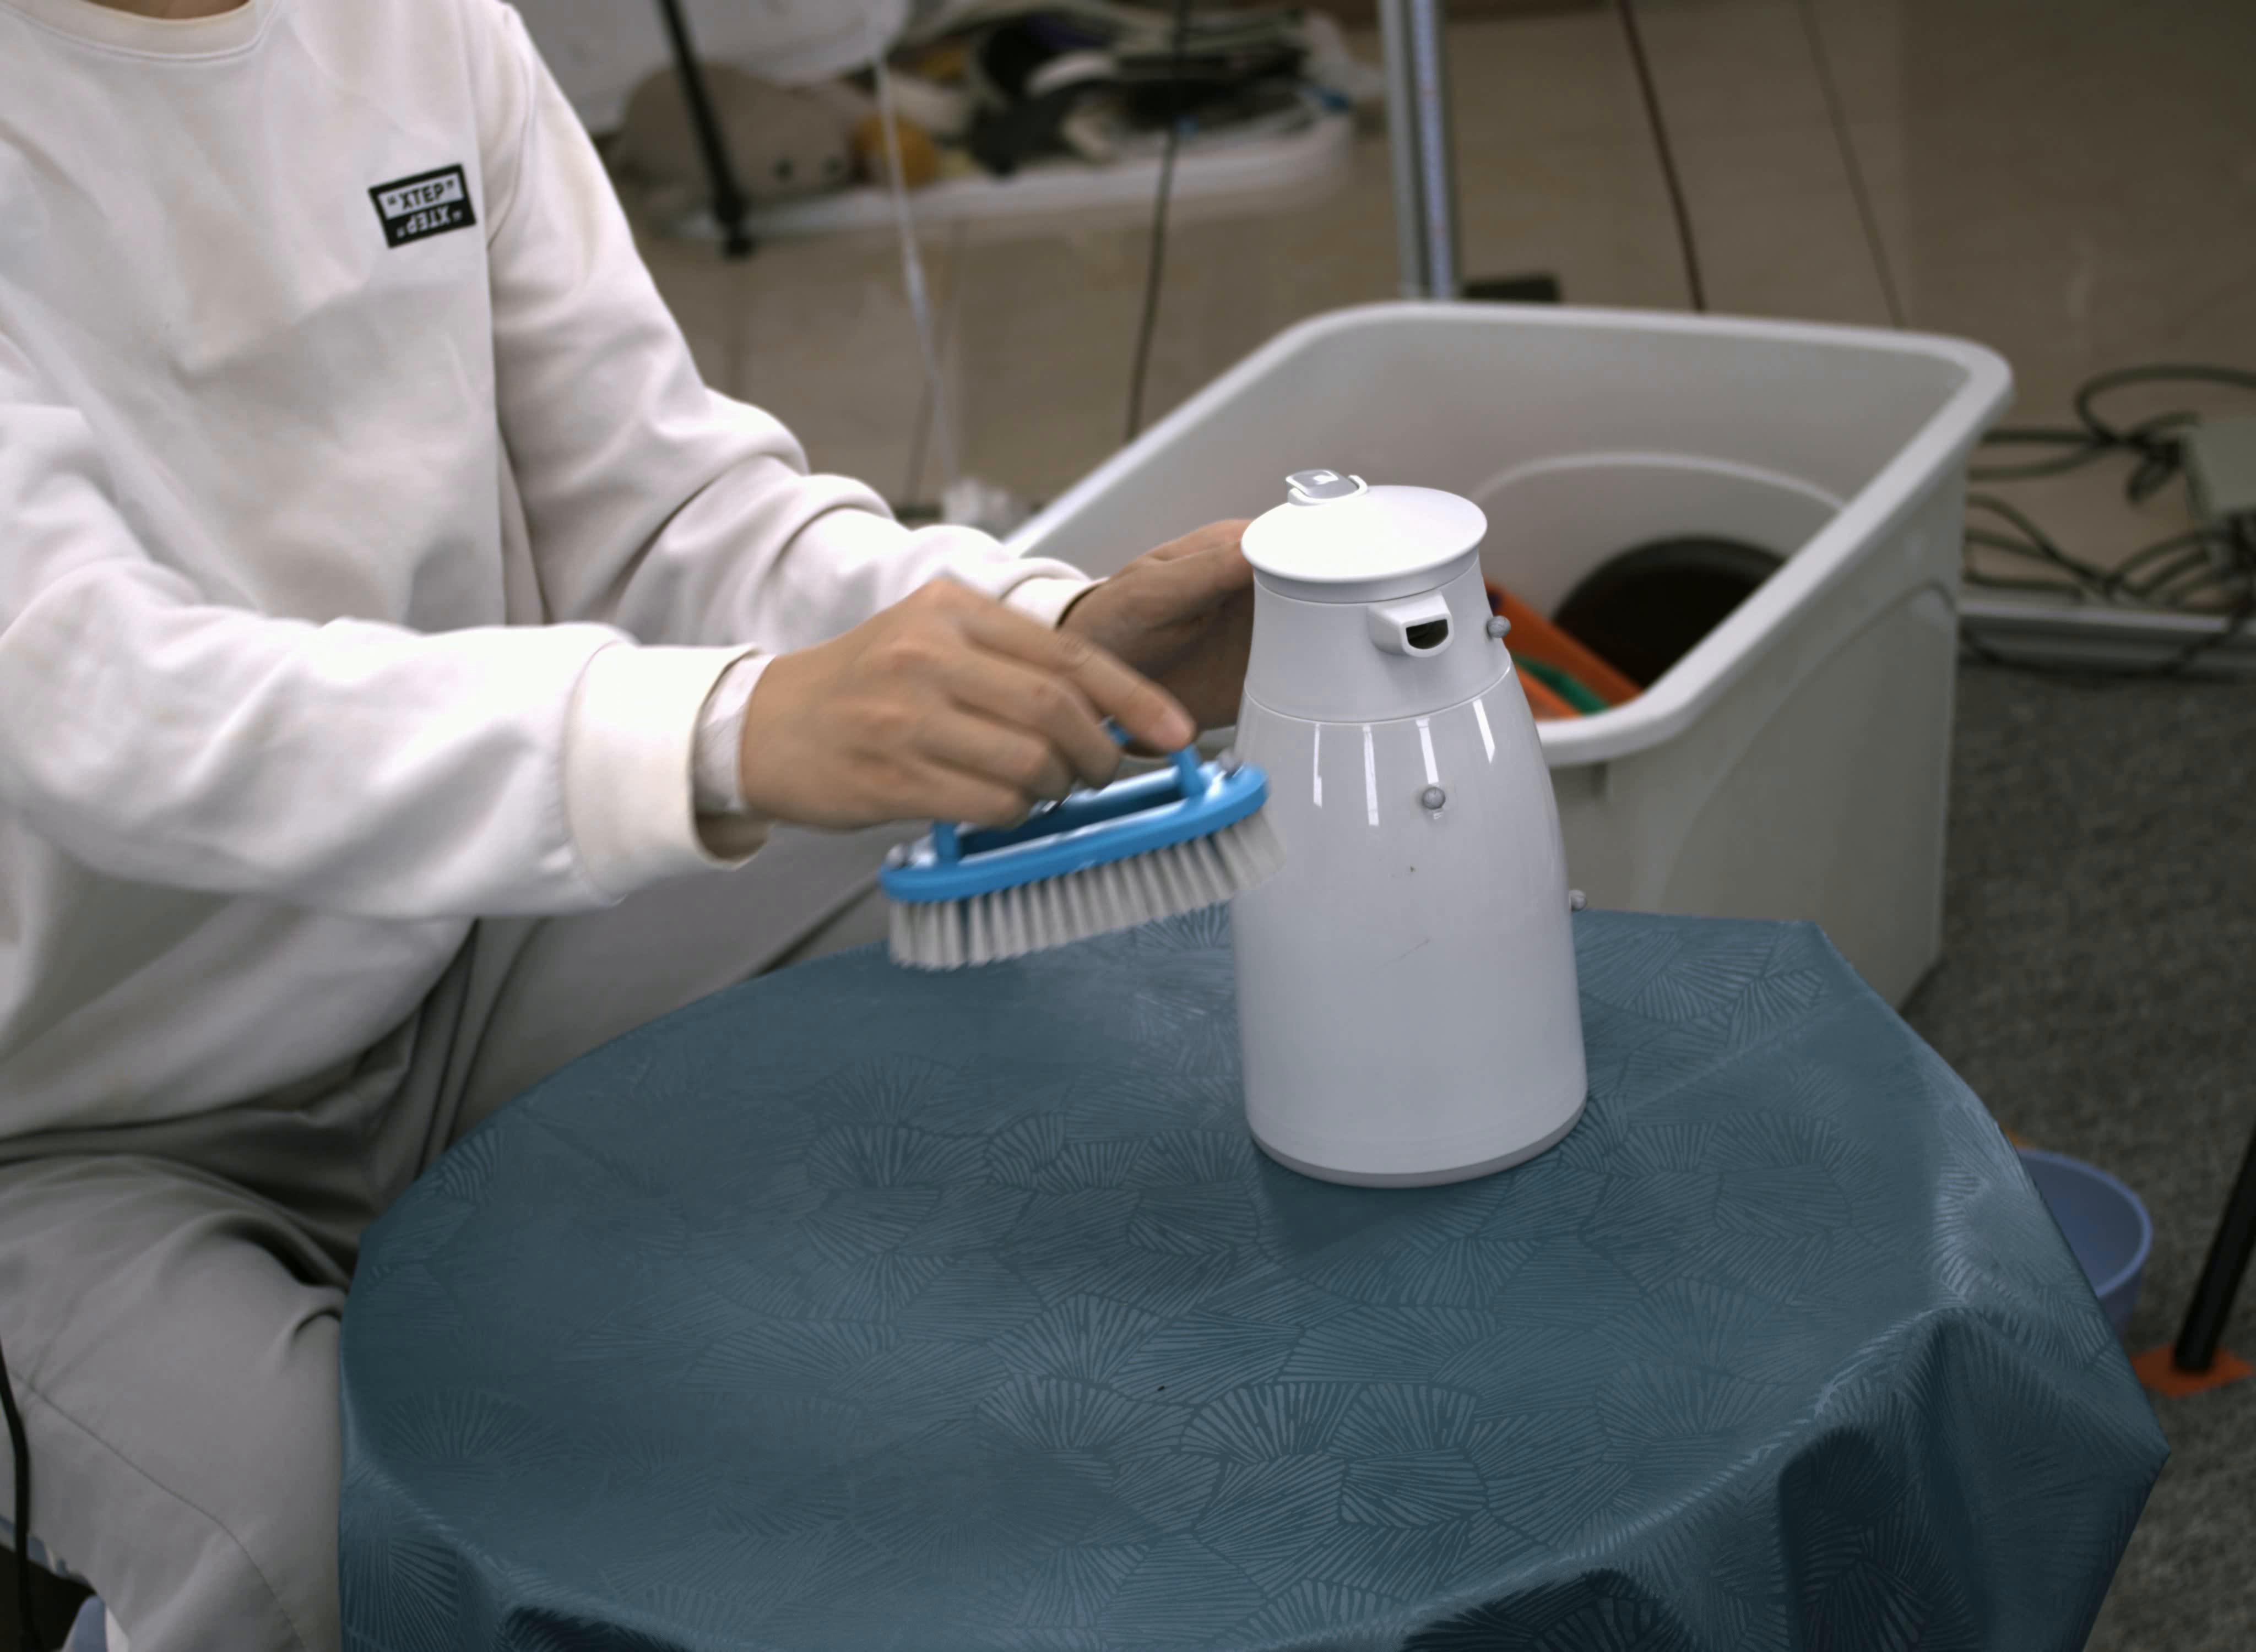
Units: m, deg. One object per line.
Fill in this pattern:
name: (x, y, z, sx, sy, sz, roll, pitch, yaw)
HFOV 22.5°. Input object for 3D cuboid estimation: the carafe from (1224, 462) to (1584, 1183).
carafe: (0.091, -0.011, 2.146, 0.132, 0.252, 0.165, -14, 26, -15)

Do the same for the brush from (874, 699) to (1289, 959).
brush: (-0.019, -0.006, 1.935, 0.141, 0.064, 0.083, -15, 20, 1)
